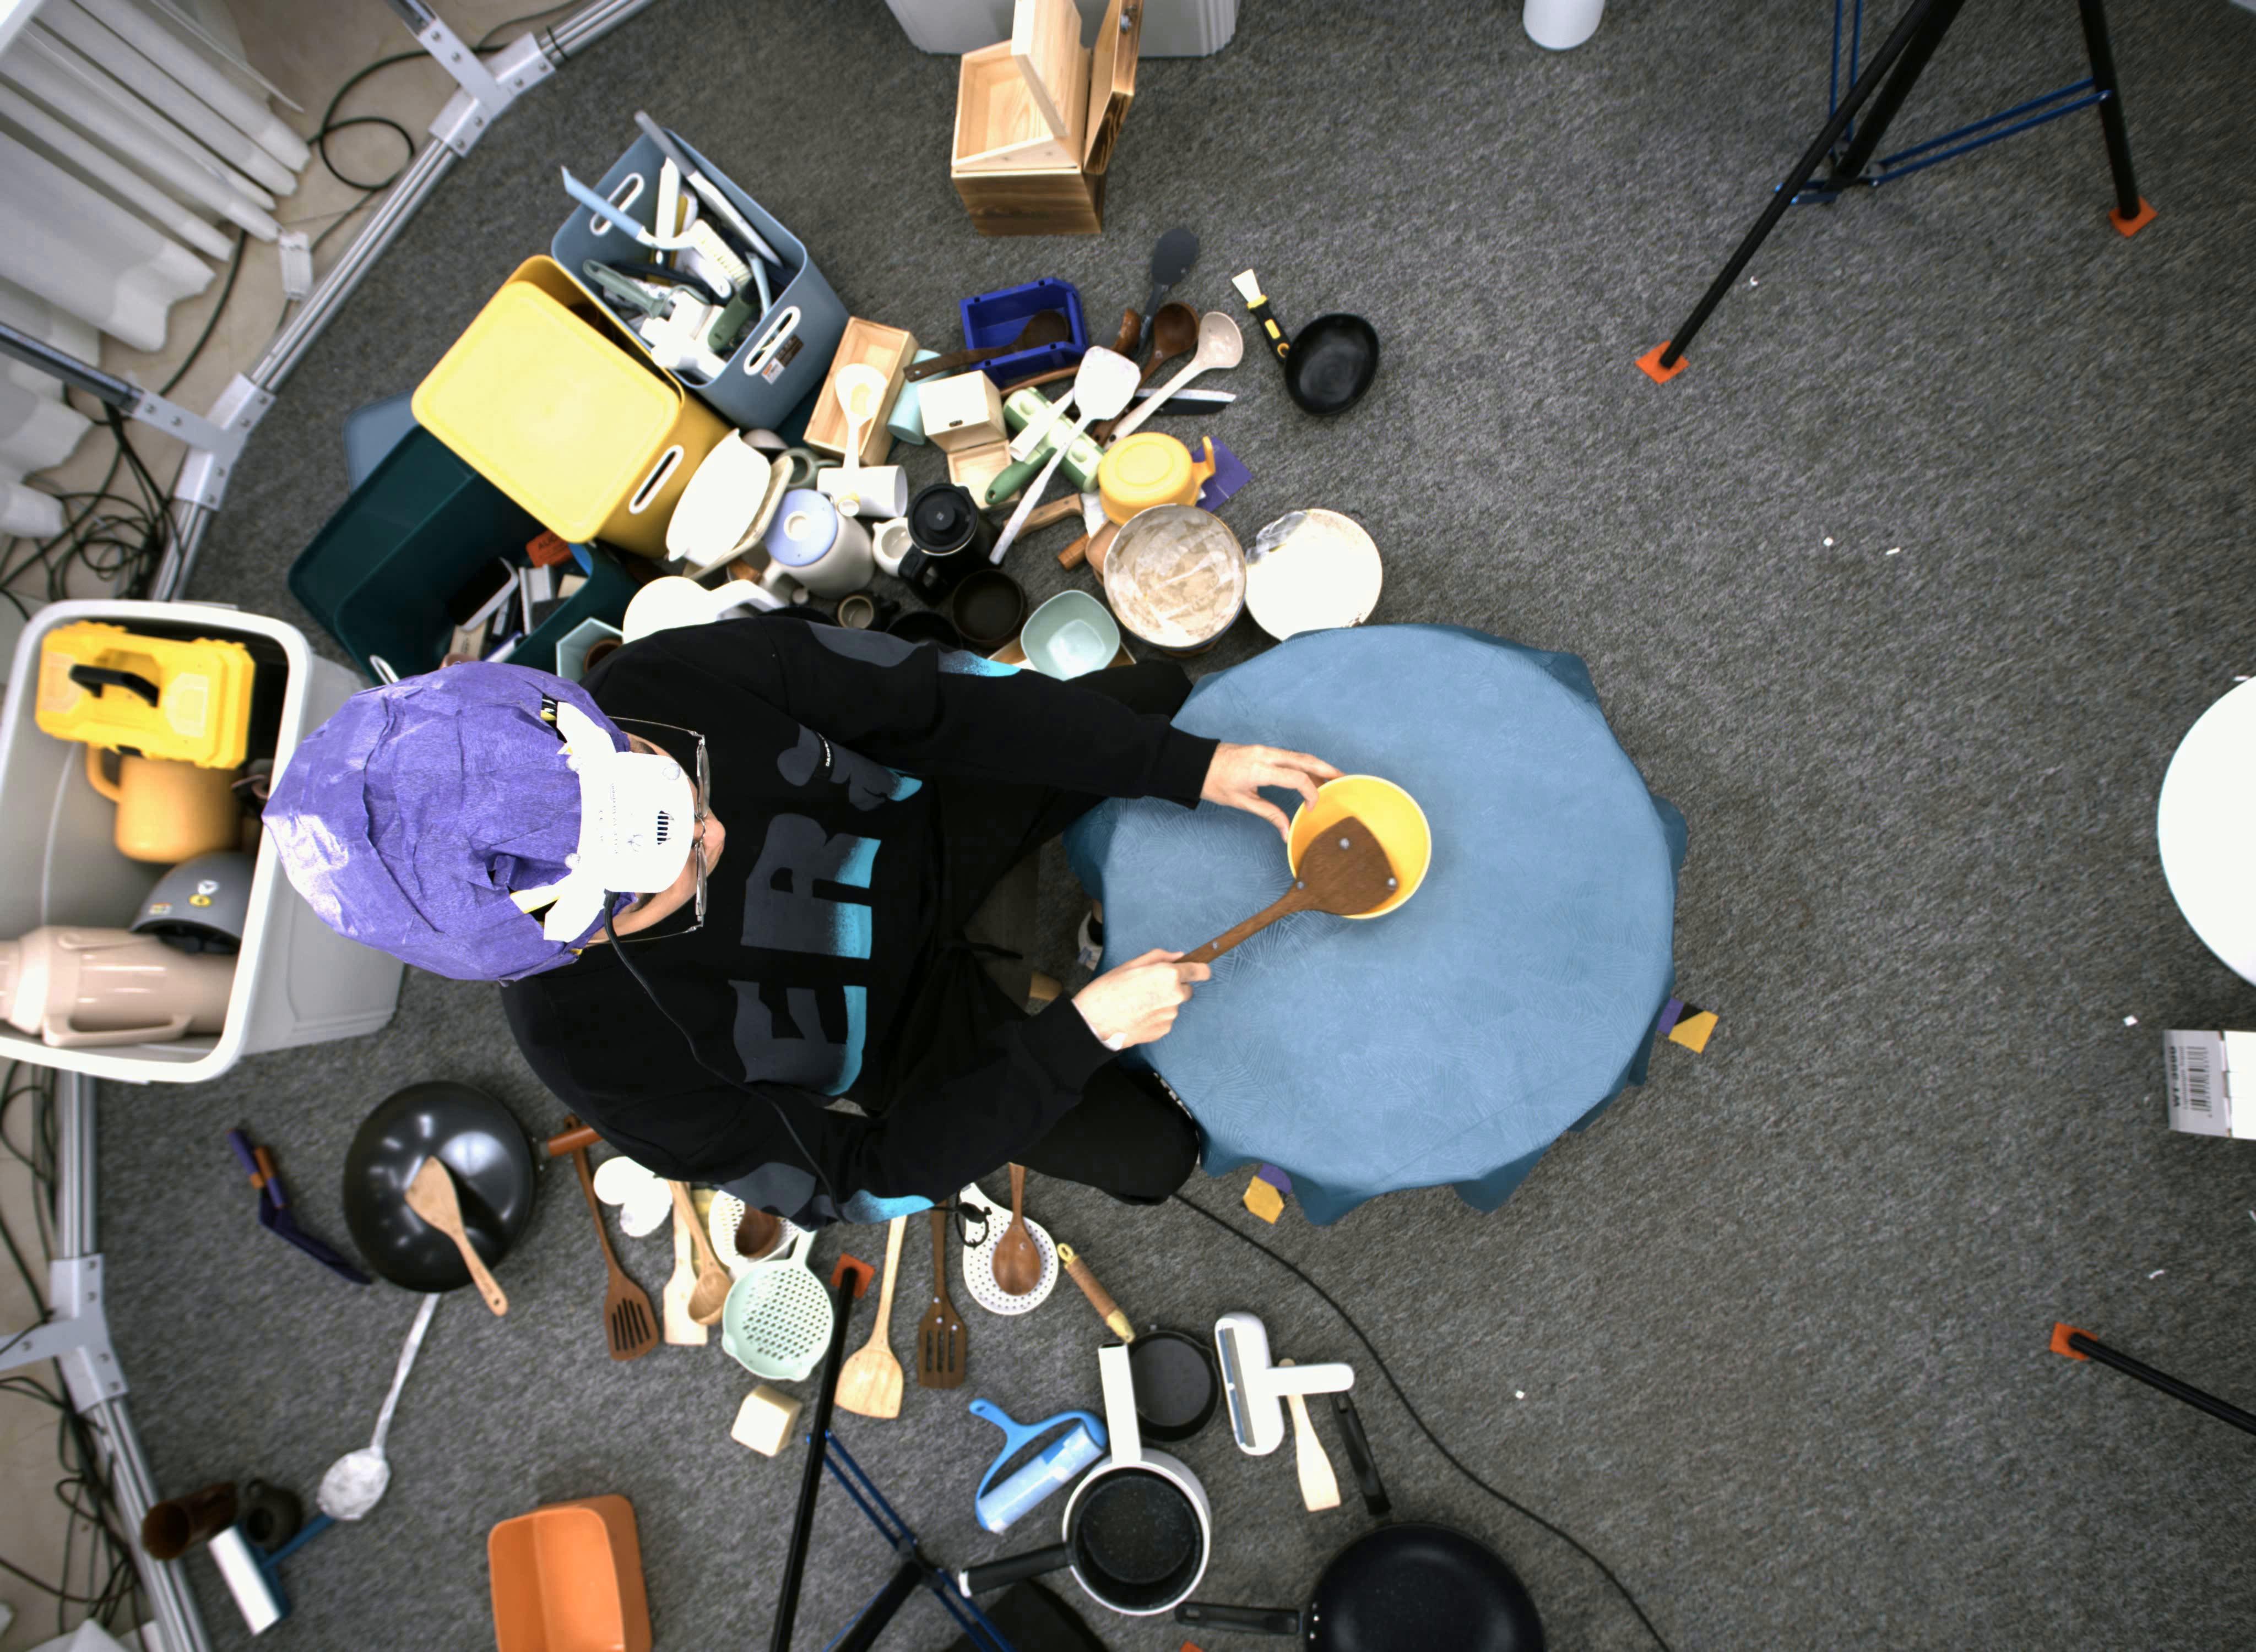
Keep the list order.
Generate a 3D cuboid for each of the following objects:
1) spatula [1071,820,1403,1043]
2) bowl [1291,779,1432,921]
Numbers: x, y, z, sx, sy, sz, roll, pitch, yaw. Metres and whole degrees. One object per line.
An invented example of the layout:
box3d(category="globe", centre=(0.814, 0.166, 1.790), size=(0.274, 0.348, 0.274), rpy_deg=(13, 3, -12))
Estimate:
box3d(category="spatula", centre=(0.109, 0.111, 1.357), size=(0.381, 0.016, 0.096), rpy_deg=(-28, 86, -20))
box3d(category="bowl", centre=(0.240, 0.024, 1.428), size=(0.146, 0.060, 0.145), rpy_deg=(0, 90, 7))
